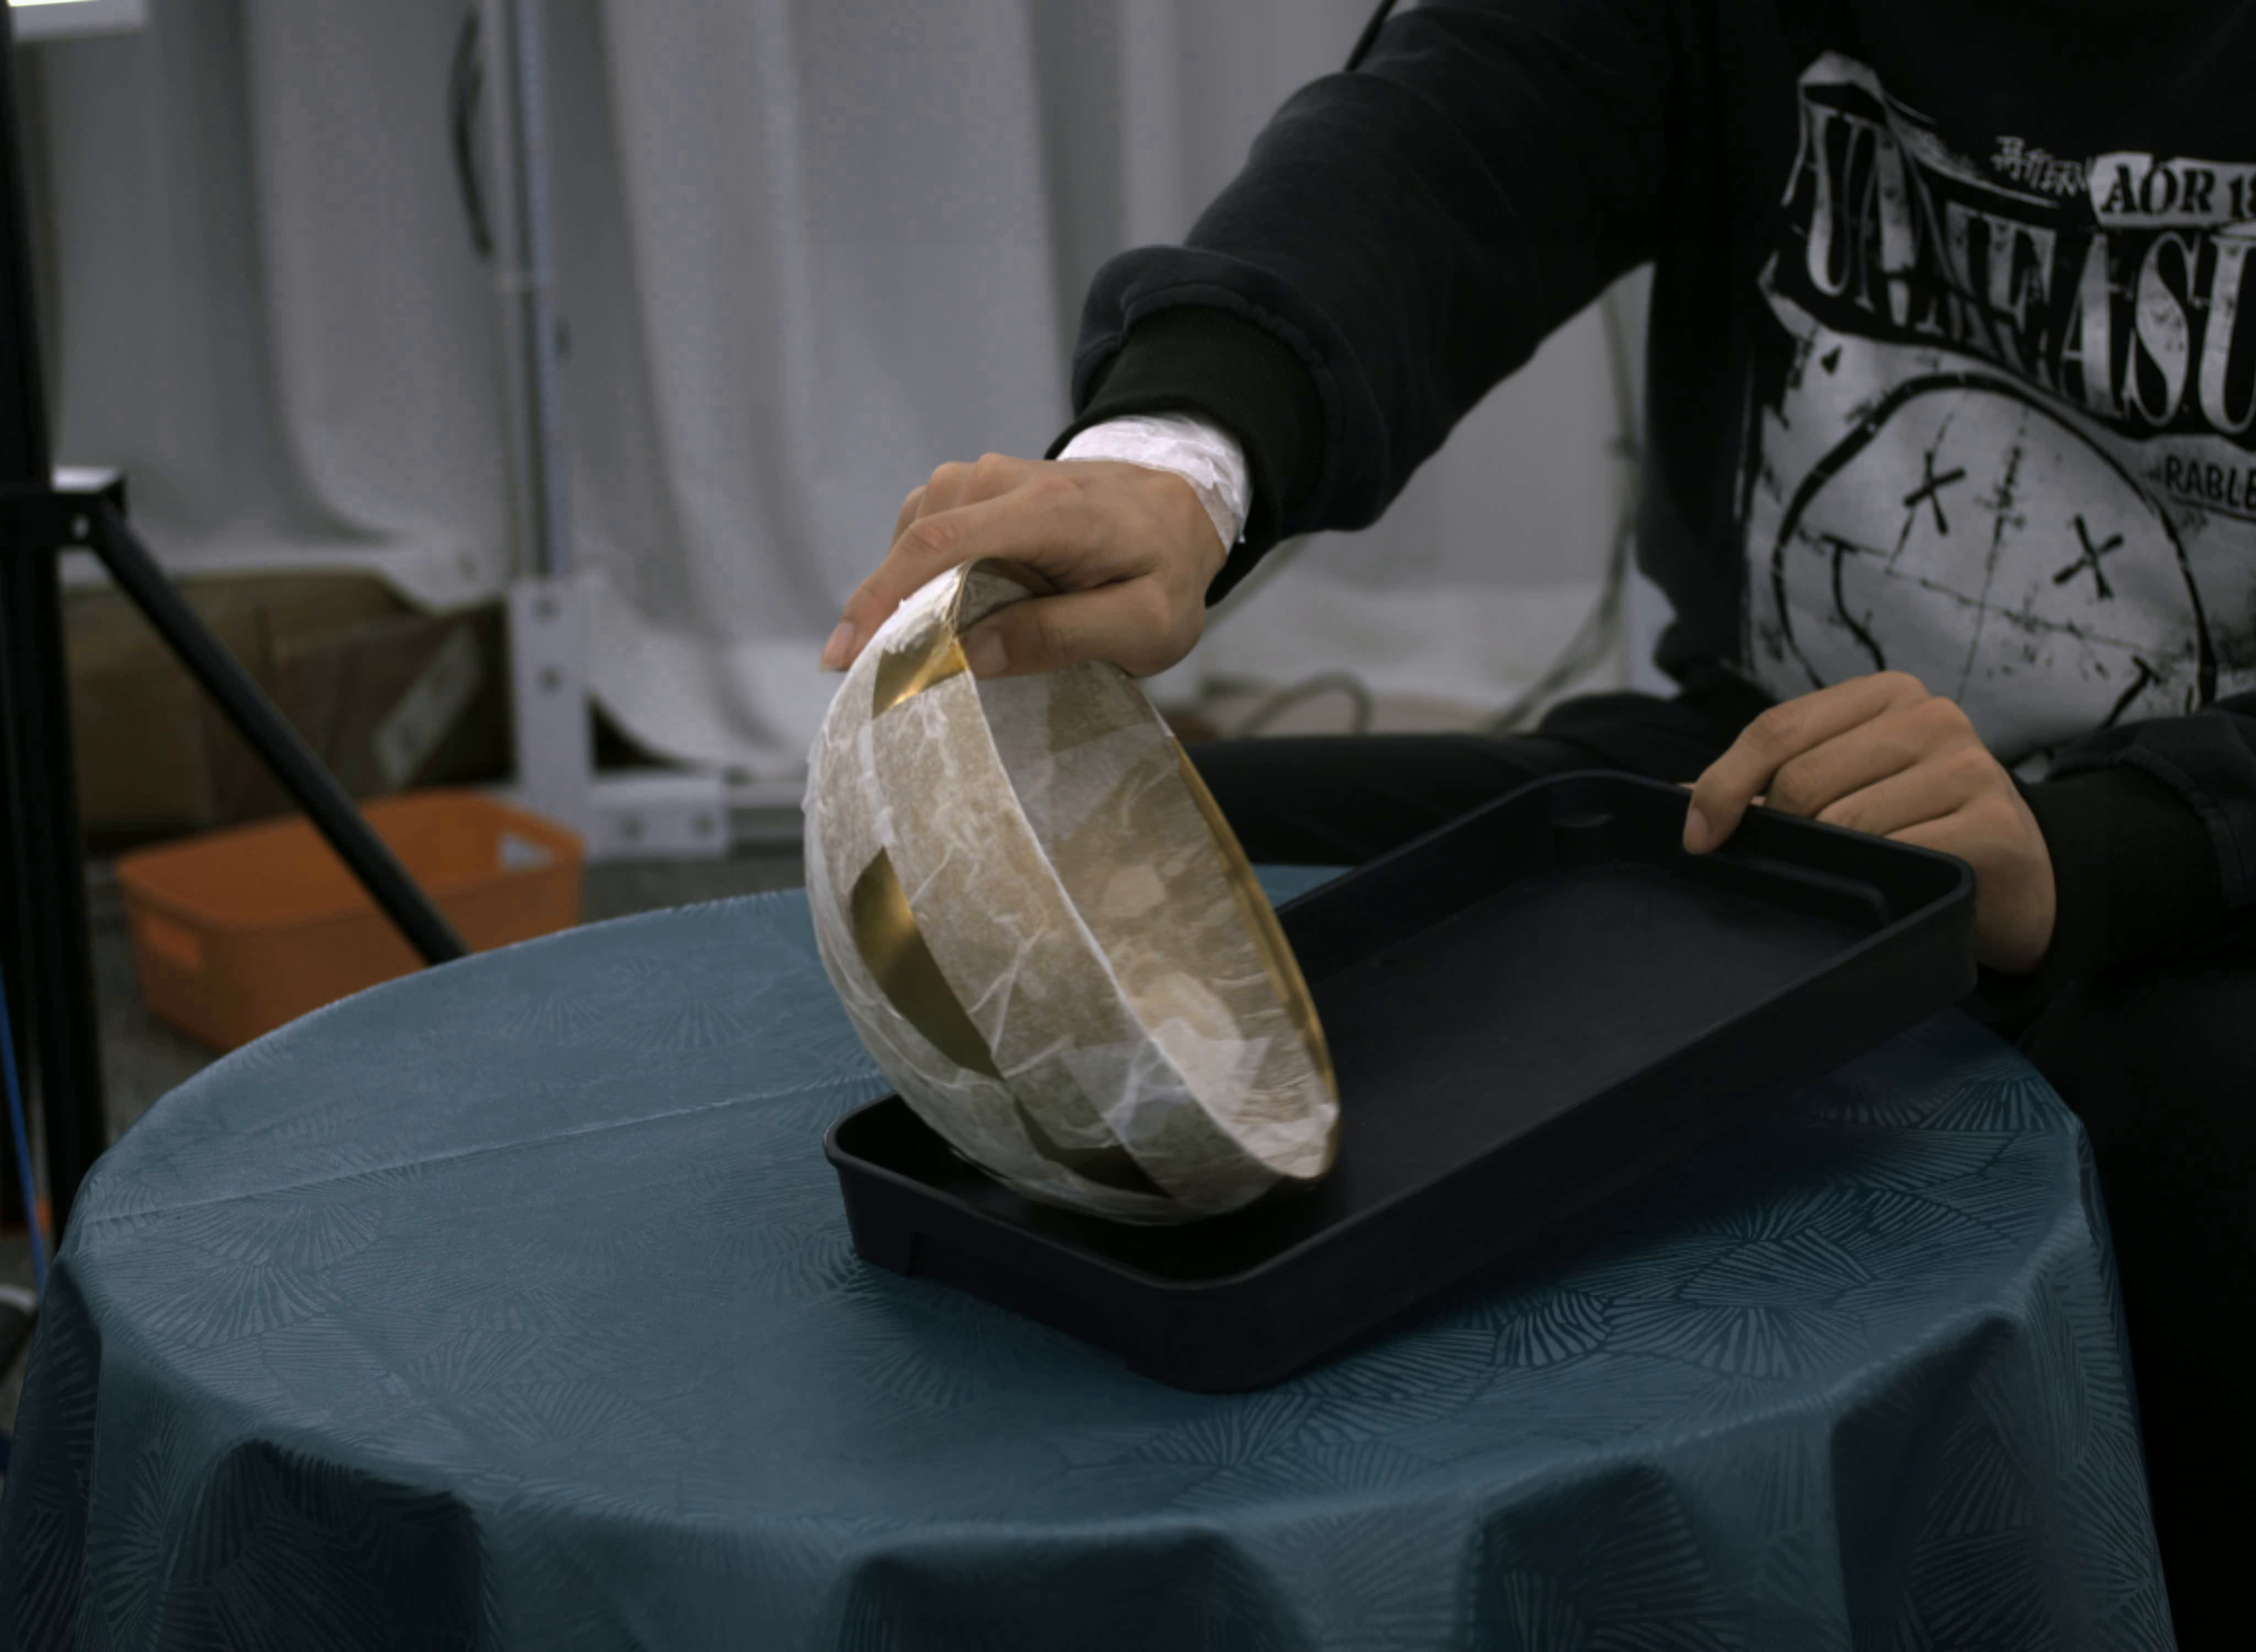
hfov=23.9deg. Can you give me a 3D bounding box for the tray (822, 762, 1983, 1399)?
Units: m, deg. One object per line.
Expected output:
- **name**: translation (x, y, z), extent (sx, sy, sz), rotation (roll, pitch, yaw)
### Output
- **tray**: translation (0.084, 0.066, 1.536), extent (0.312, 0.037, 0.188), rotation (-25, 26, -31)

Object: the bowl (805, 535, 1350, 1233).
- **bowl**: translation (-0.027, 0.032, 1.485), extent (0.095, 0.214, 0.214), rotation (-30, 9, 16)
